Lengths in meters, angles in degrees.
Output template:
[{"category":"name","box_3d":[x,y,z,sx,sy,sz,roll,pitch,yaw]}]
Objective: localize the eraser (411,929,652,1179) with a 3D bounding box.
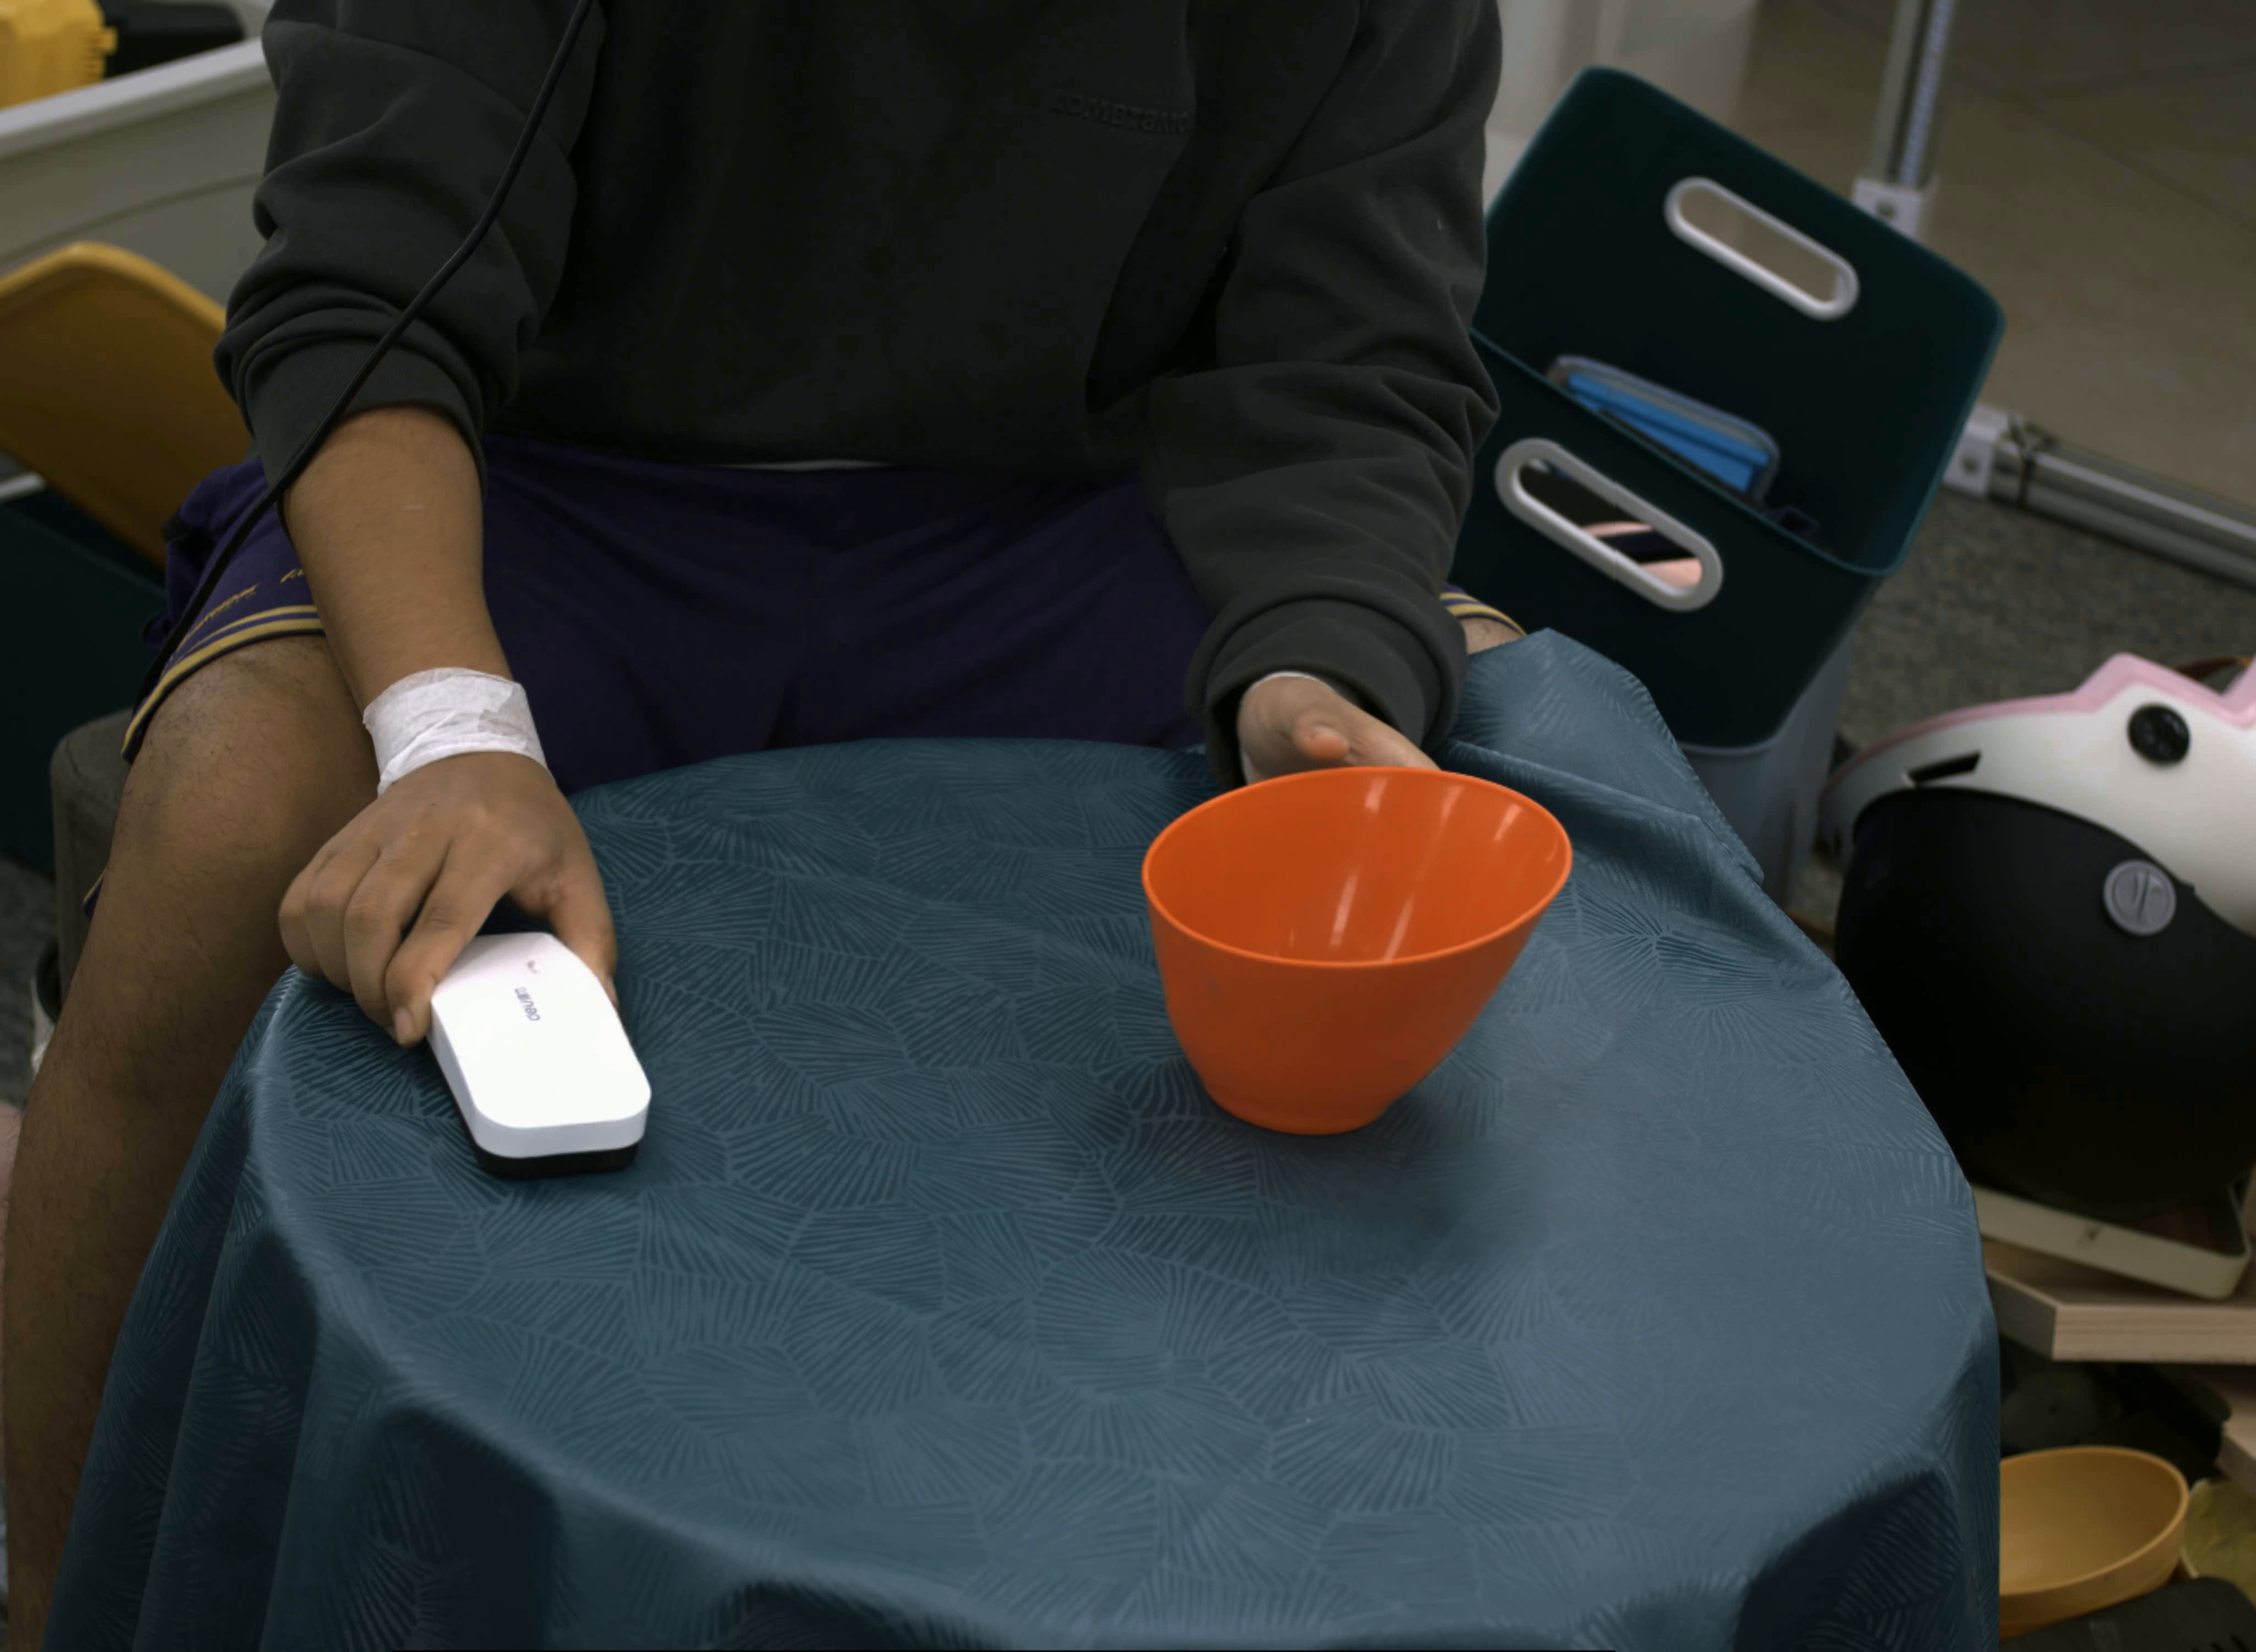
[{"category":"eraser","box_3d":[-0.204,0.074,1.818,0.063,0.034,0.132,-2,30,-19]}]

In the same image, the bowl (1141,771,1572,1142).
[{"category":"bowl","box_3d":[0.075,0.050,1.853,0.147,0.104,0.149,4,27,-2]}]
